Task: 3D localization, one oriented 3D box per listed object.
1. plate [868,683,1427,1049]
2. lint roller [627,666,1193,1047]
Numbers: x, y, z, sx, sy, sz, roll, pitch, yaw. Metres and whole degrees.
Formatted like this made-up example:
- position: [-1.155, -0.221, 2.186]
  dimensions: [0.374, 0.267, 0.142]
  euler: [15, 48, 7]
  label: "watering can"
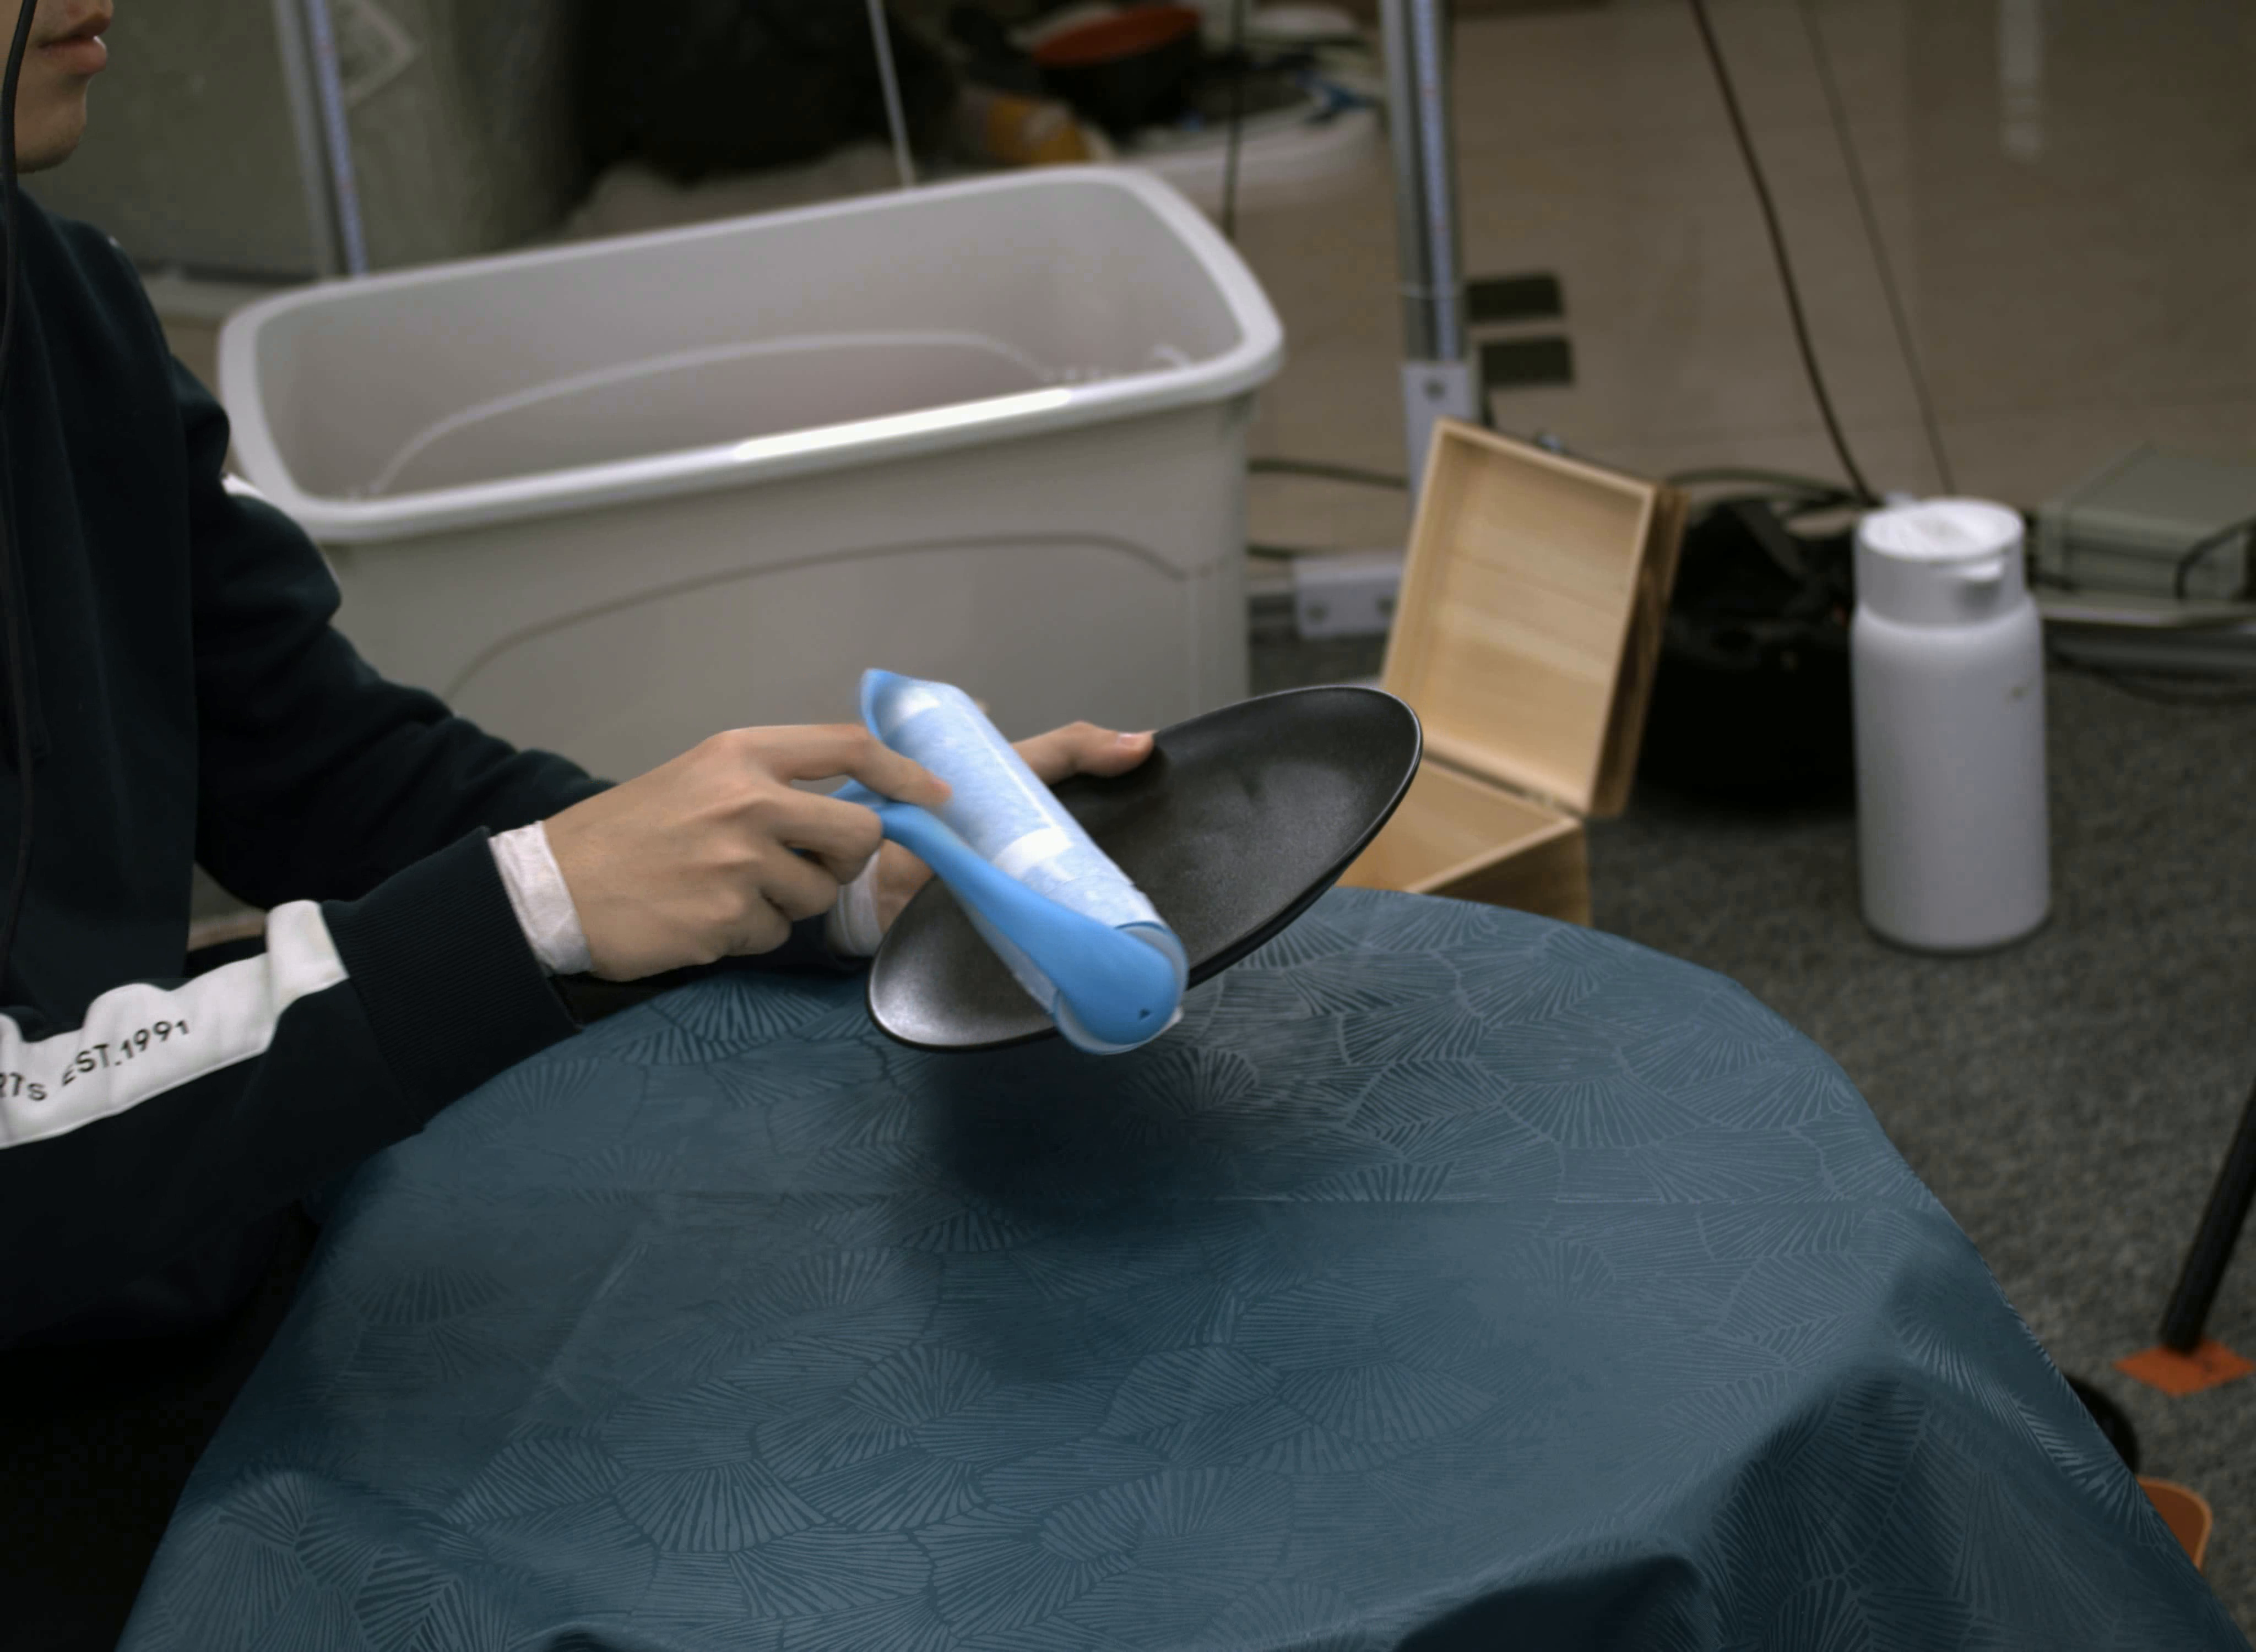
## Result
- position: [0.011, 0.021, 2.198]
  dimensions: [0.245, 0.024, 0.241]
  euler: [-25, 21, 11]
  label: "plate"
- position: [-0.094, 0.017, 2.058]
  dimensions: [0.180, 0.069, 0.225]
  euler: [-9, 34, -28]
  label: "lint roller"
